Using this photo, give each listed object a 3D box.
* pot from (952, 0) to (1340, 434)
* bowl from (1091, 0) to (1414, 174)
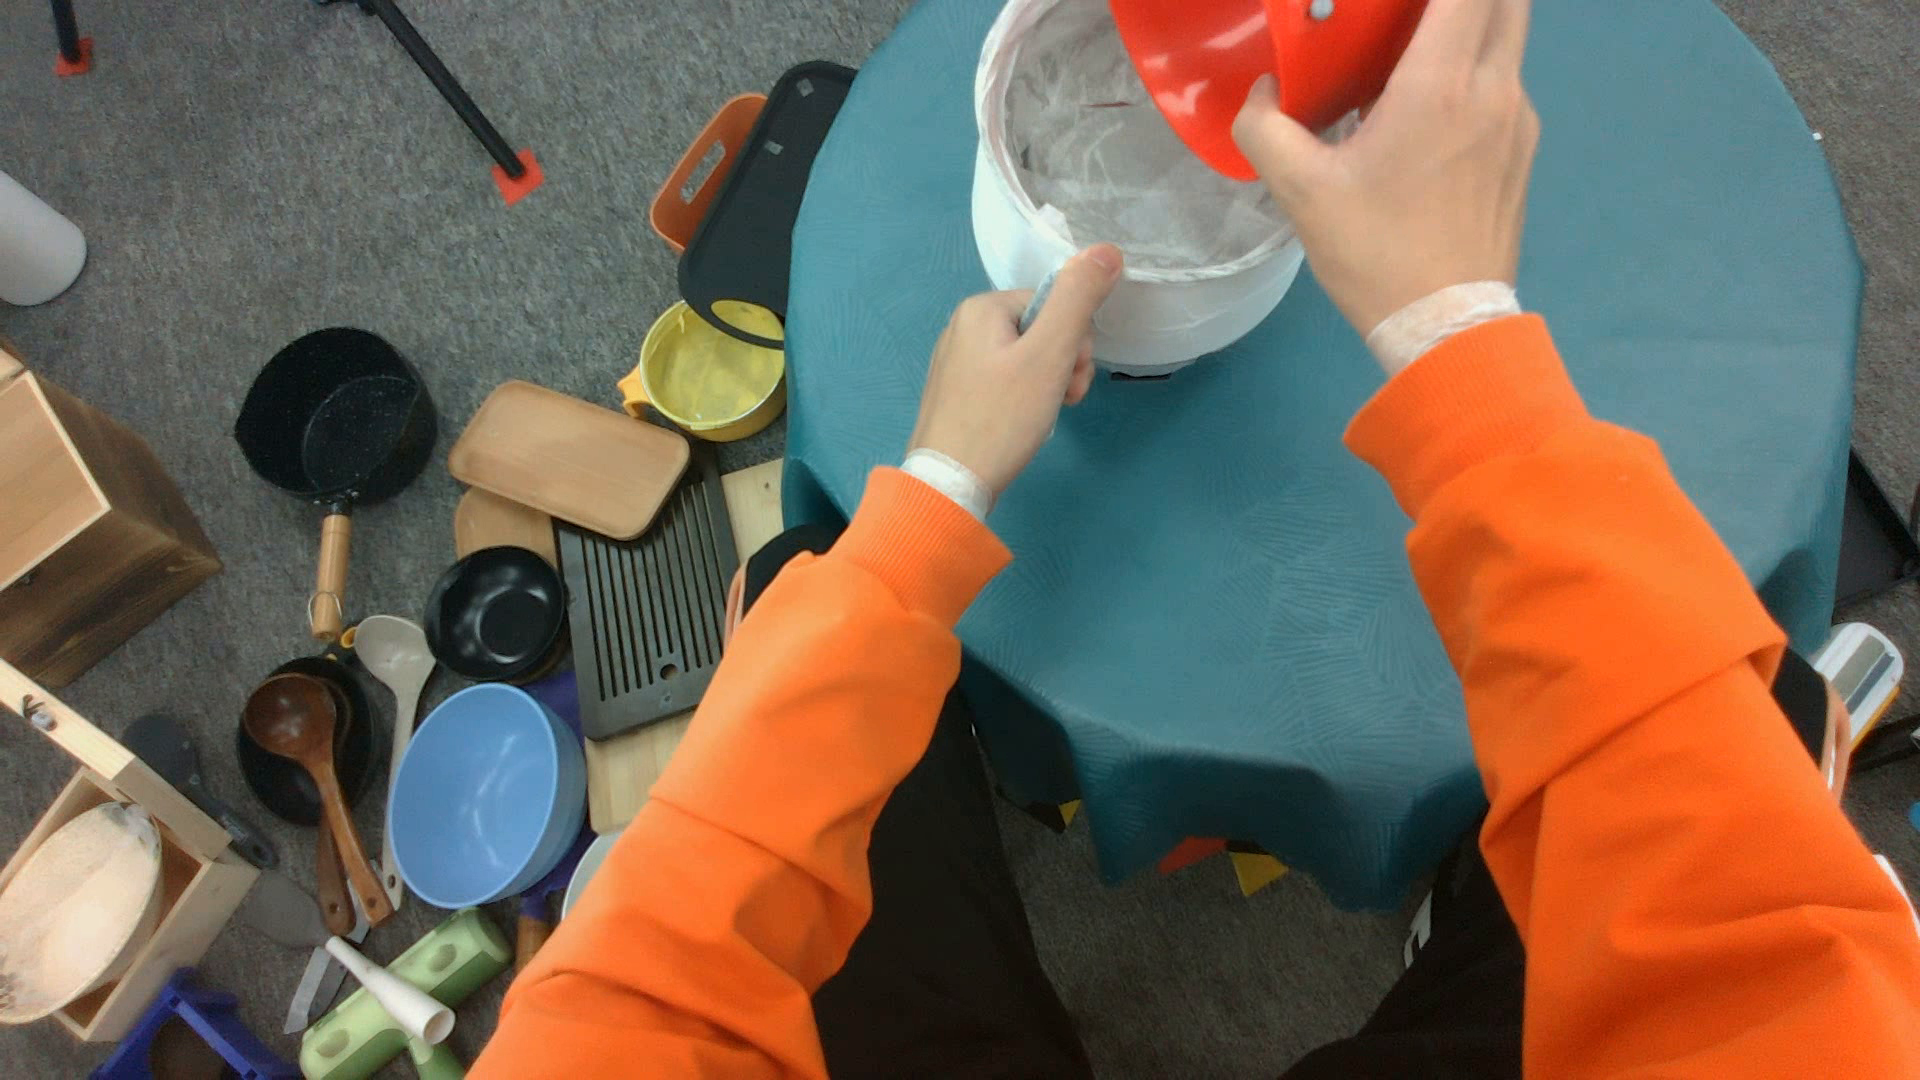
[{"bbox_3d":[0.072,-0.166,0.684,0.179,0.136,0.234,26,76,6],"label":"pot"},{"bbox_3d":[0.122,-0.237,0.579,0.104,0.147,0.148,-22,69,-4],"label":"bowl"}]
